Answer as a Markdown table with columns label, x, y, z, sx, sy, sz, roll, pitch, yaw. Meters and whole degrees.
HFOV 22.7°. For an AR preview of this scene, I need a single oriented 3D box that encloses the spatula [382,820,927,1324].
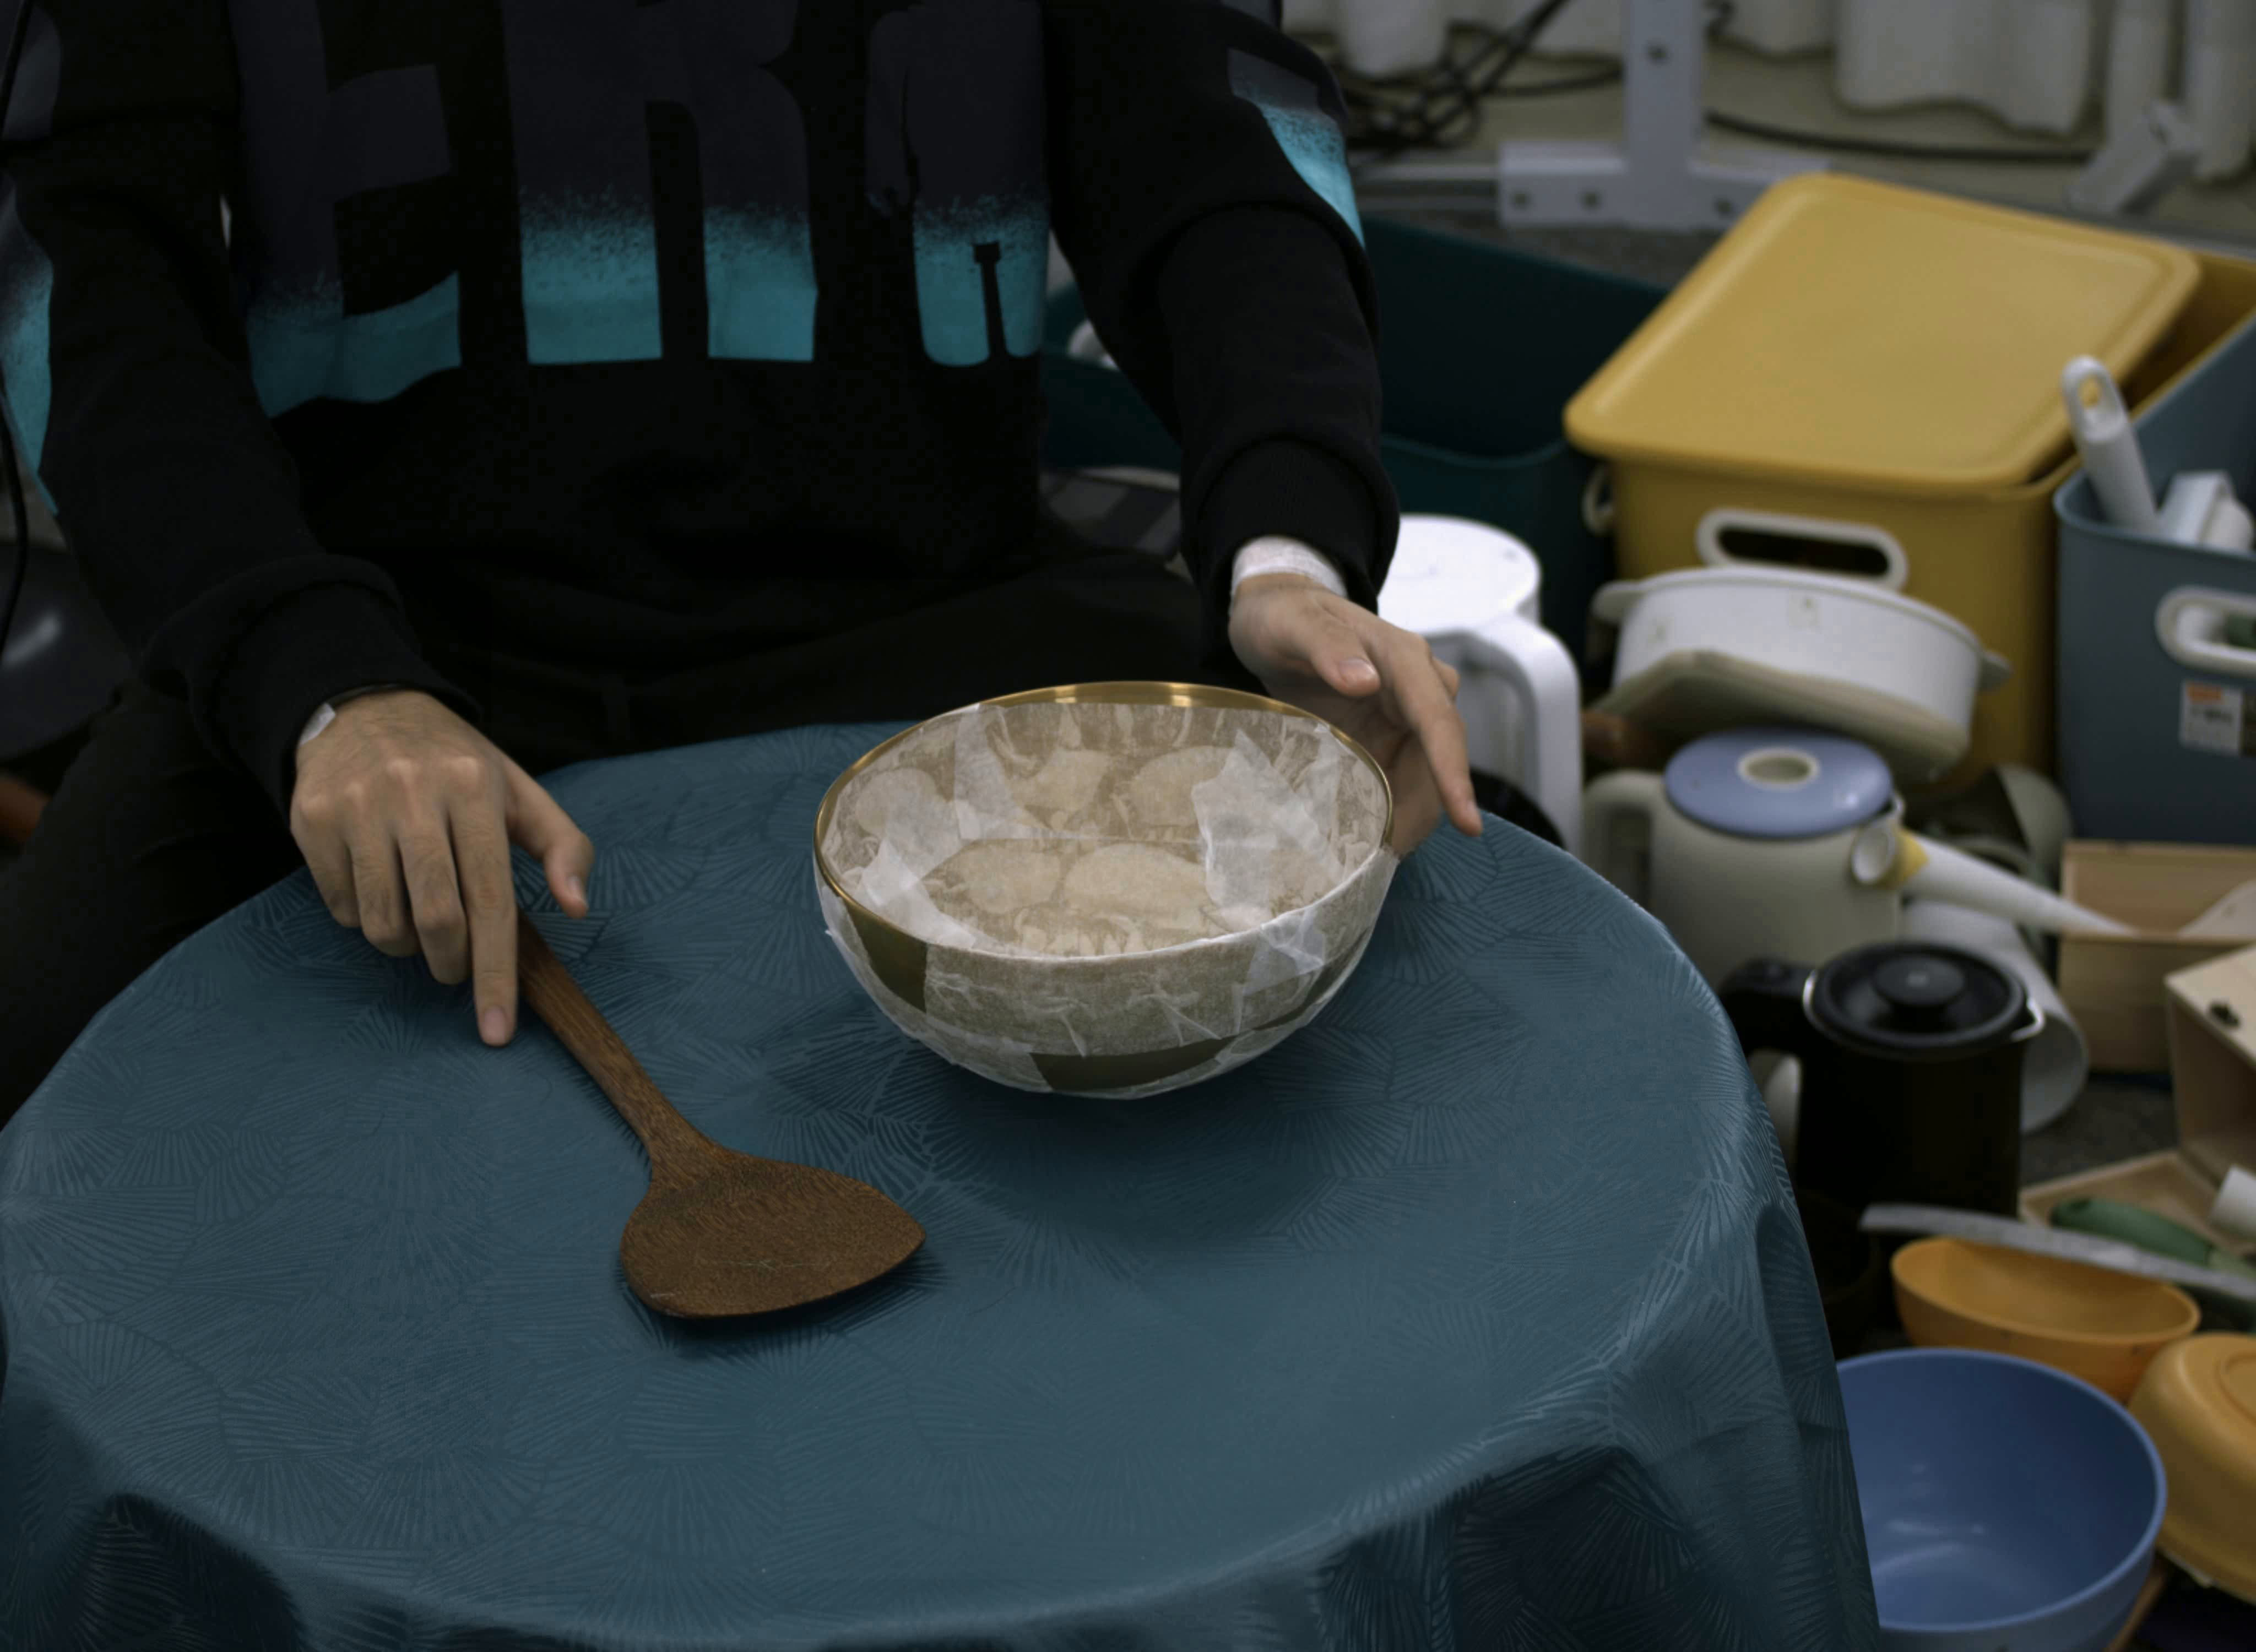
| label | x | y | z | sx | sy | sz | roll | pitch | yaw |
| --- | --- | --- | --- | --- | --- | --- | --- | --- | --- |
| spatula | -0.185 | 0.077 | 1.947 | 0.096 | 0.015 | 0.388 | -14 | 30 | -23 |

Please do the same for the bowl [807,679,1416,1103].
| label | x | y | z | sx | sy | sz | roll | pitch | yaw |
| --- | --- | --- | --- | --- | --- | --- | --- | --- | --- |
| bowl | -0.004 | 0.034 | 1.933 | 0.213 | 0.093 | 0.218 | -4 | 26 | 2 |
